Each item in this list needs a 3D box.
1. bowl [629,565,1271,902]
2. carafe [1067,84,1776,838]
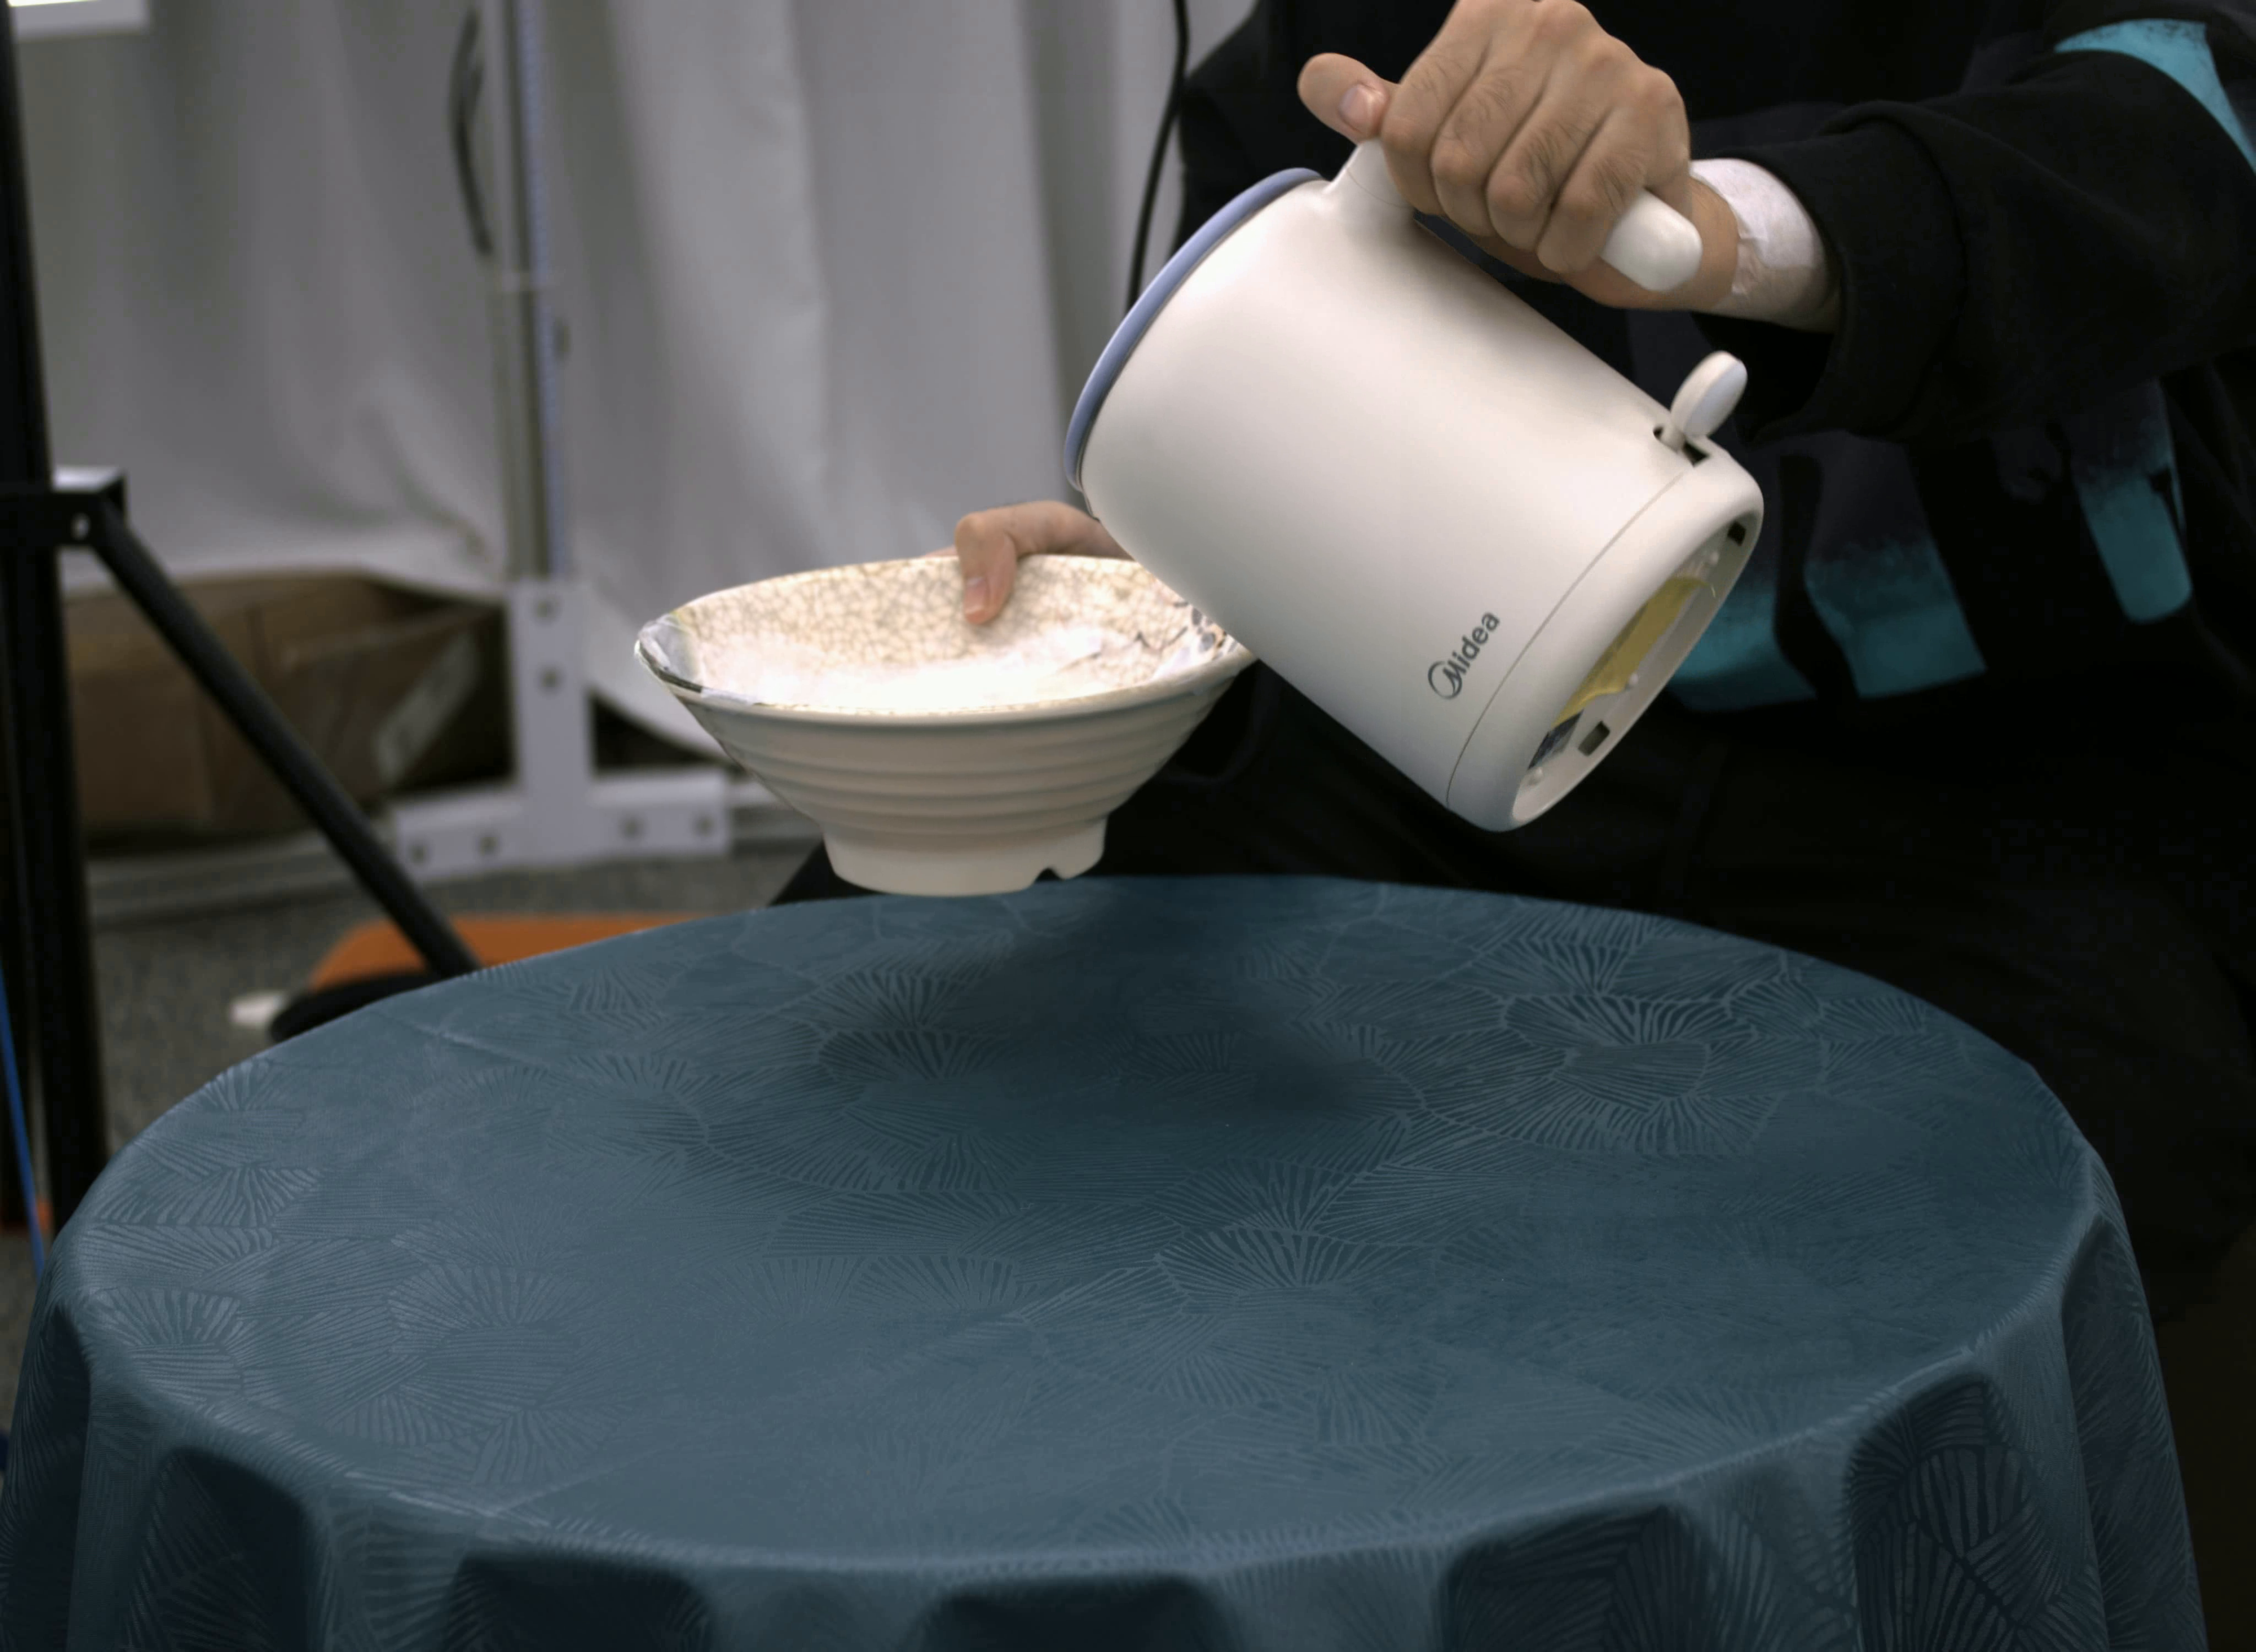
[{"bbox_3d":[-0.056,-0.024,1.692,0.203,0.078,0.205,-1,14,-1],"label":"bowl"},{"bbox_3d":[0.096,-0.114,1.550,0.184,0.192,0.130,42,28,12],"label":"carafe"}]
